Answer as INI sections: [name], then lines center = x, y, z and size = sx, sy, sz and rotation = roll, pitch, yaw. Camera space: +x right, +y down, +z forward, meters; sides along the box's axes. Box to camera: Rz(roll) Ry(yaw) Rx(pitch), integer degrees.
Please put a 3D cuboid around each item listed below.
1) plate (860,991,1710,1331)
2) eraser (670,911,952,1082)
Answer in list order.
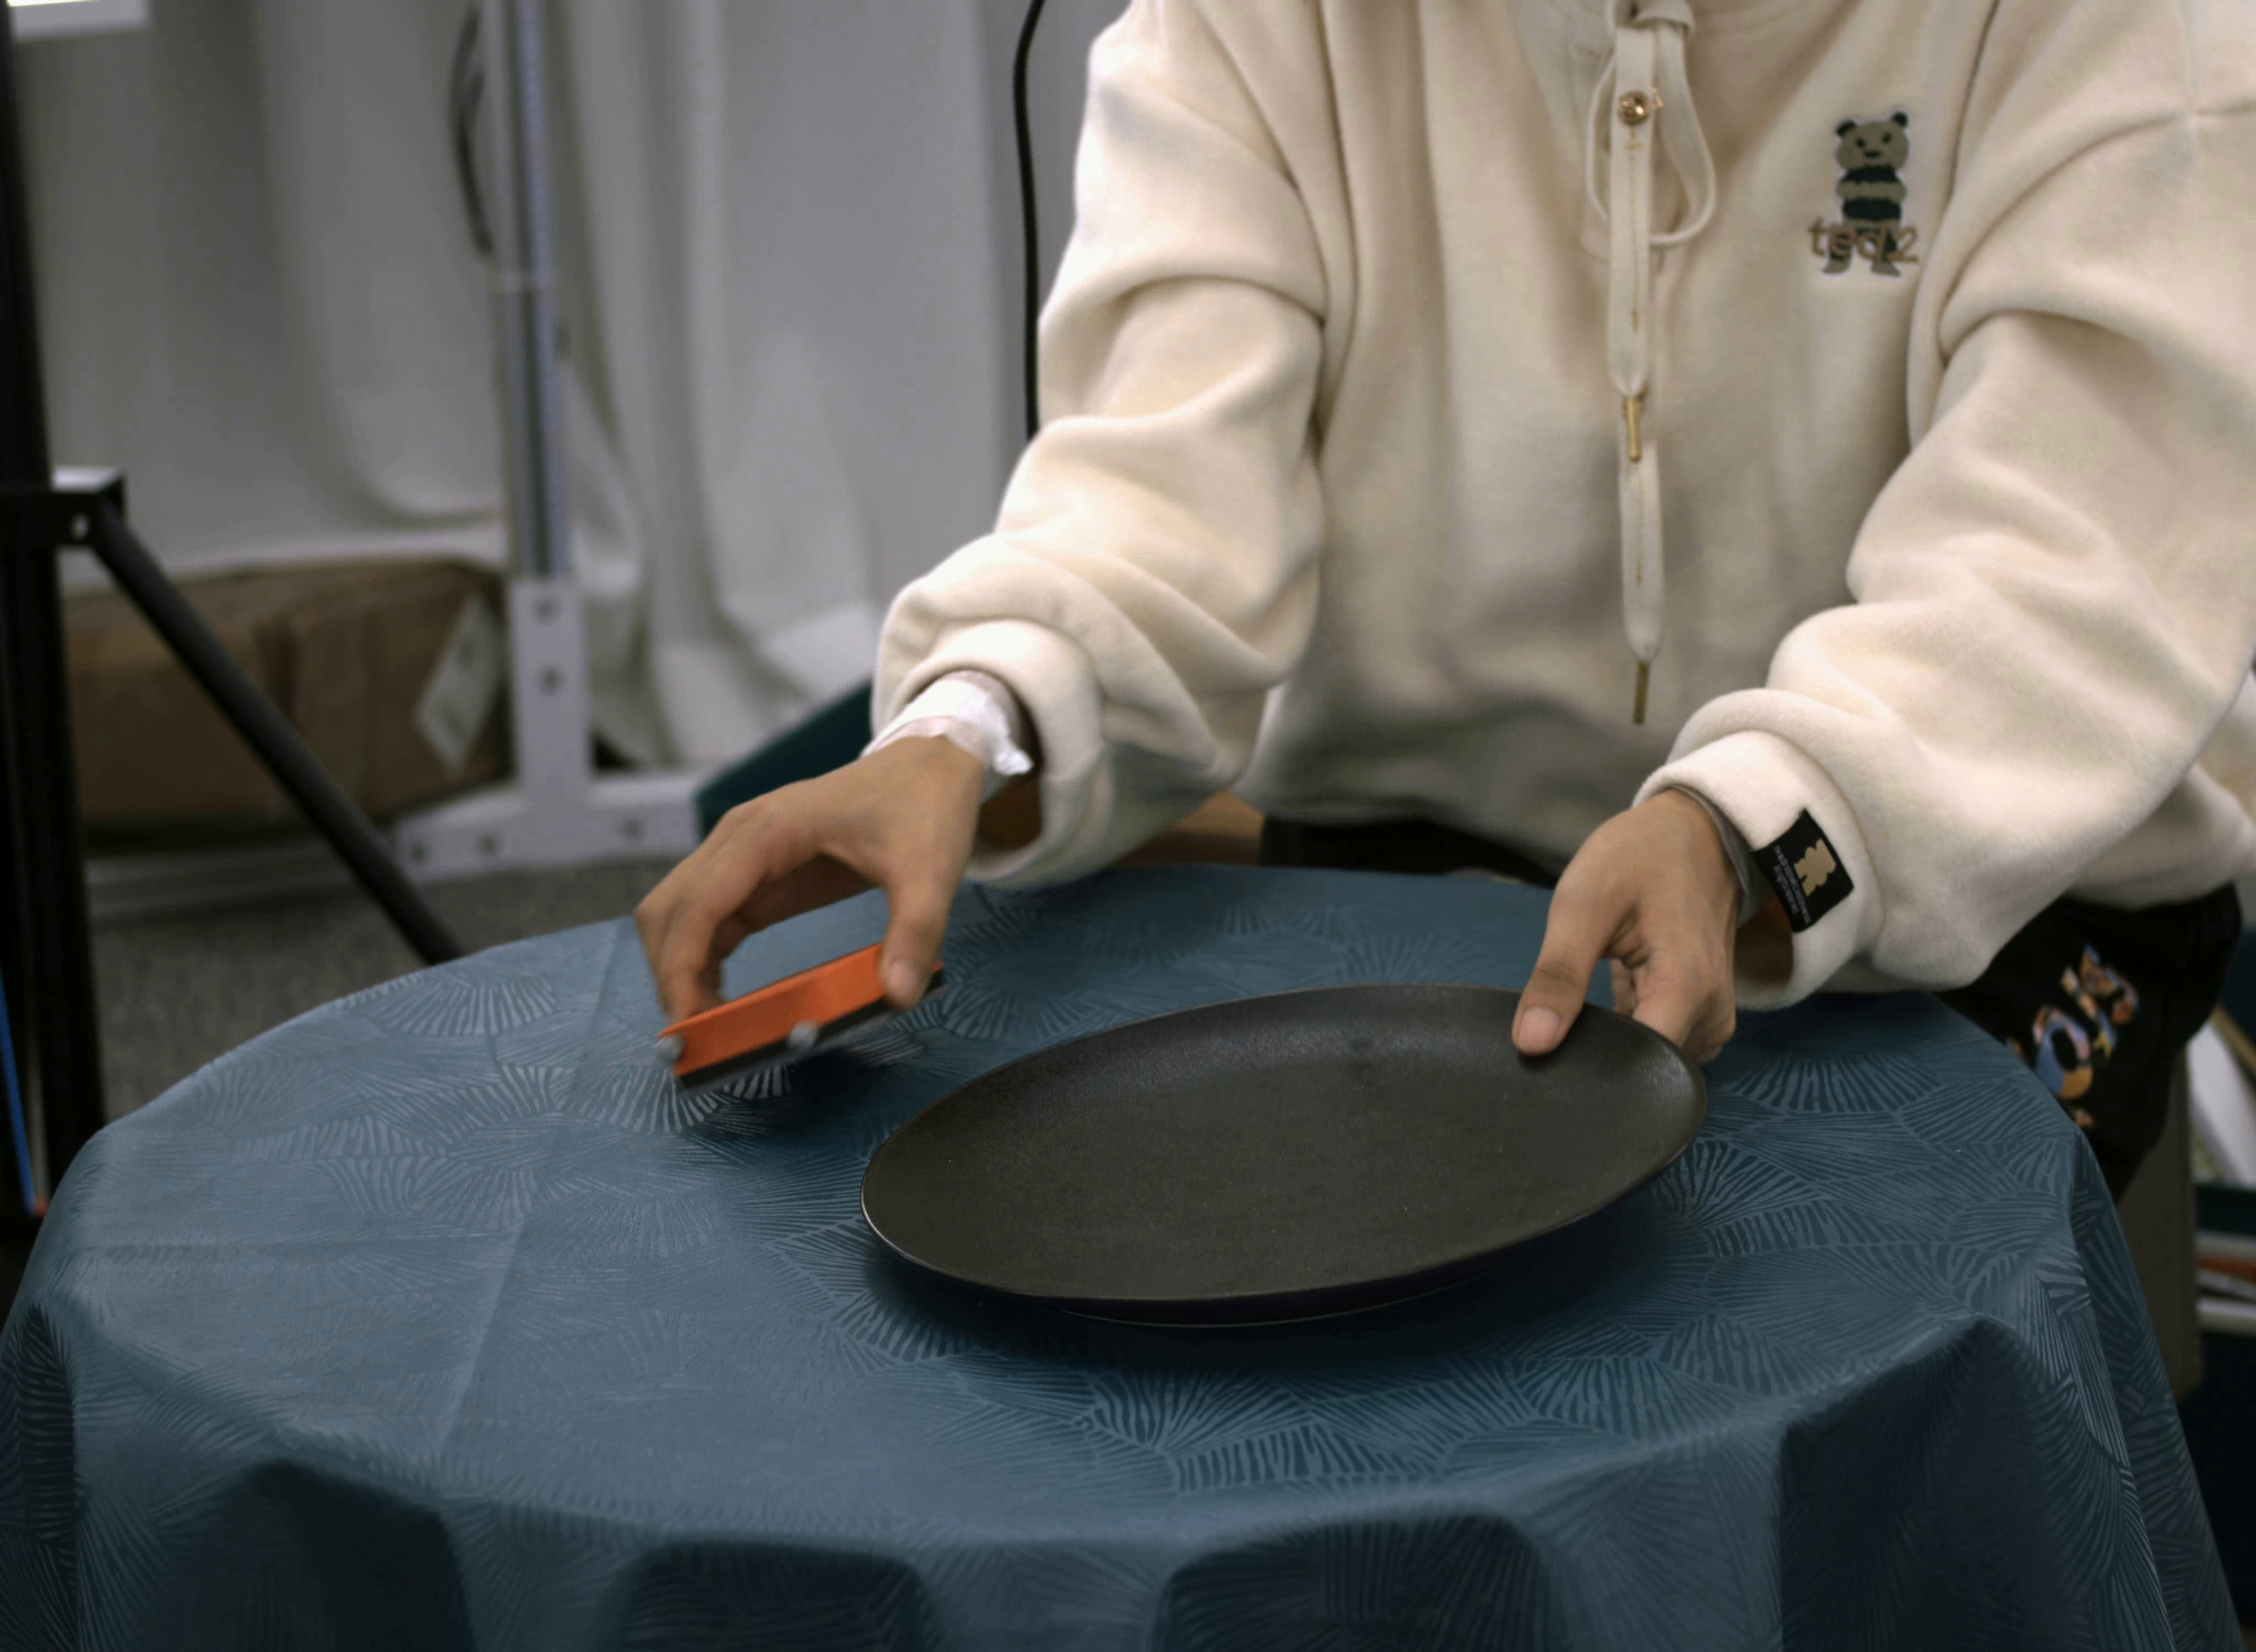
[plate]
center = 0.045, 0.098, 1.513
size = 0.243, 0.023, 0.246
rotation = -8, 17, 1
[eraser]
center = -0.097, 0.052, 1.656
size = 0.059, 0.023, 0.106
rotation = -22, 1, 20
